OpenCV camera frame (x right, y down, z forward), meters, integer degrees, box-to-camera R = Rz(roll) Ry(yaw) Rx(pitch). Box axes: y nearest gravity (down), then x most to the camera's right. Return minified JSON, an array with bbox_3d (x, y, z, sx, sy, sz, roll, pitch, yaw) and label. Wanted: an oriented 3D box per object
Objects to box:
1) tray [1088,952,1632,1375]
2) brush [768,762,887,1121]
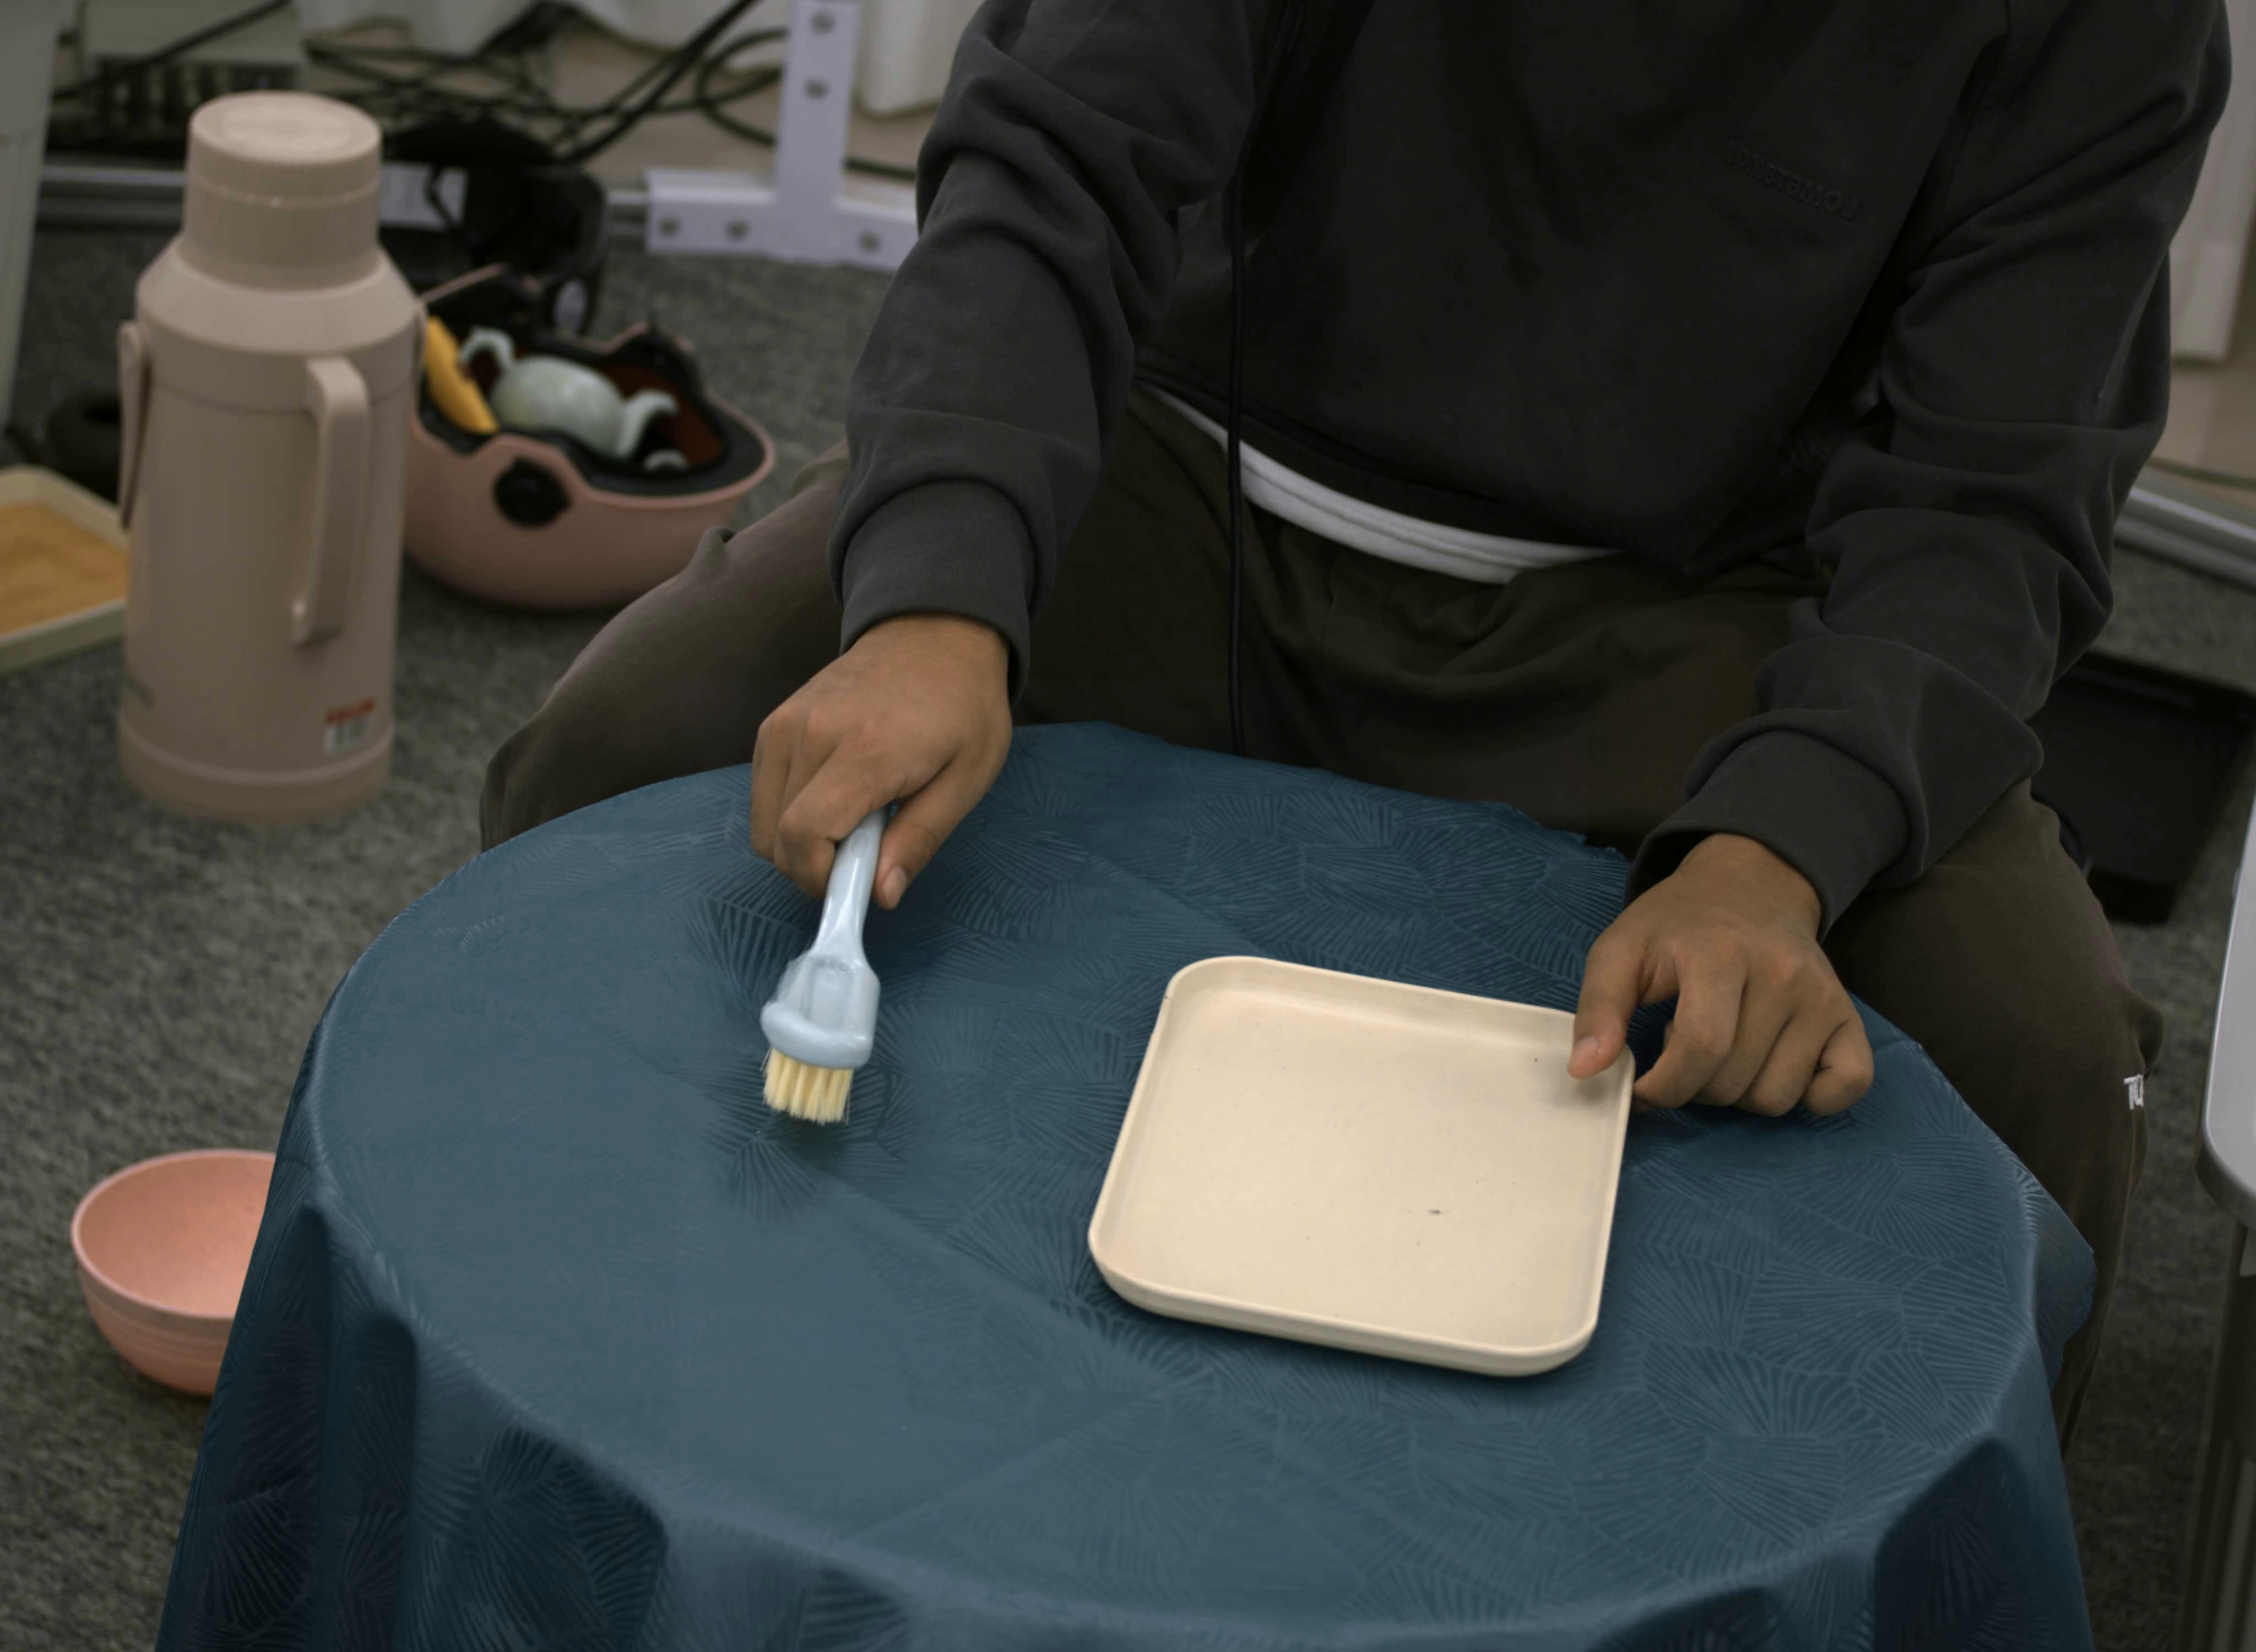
[{"bbox_3d":[0.082,0.114,1.824,0.171,0.017,0.240,10,27,5],"label":"tray"},{"bbox_3d":[-0.104,0.038,1.889,0.037,0.049,0.230,12,28,-6],"label":"brush"}]
